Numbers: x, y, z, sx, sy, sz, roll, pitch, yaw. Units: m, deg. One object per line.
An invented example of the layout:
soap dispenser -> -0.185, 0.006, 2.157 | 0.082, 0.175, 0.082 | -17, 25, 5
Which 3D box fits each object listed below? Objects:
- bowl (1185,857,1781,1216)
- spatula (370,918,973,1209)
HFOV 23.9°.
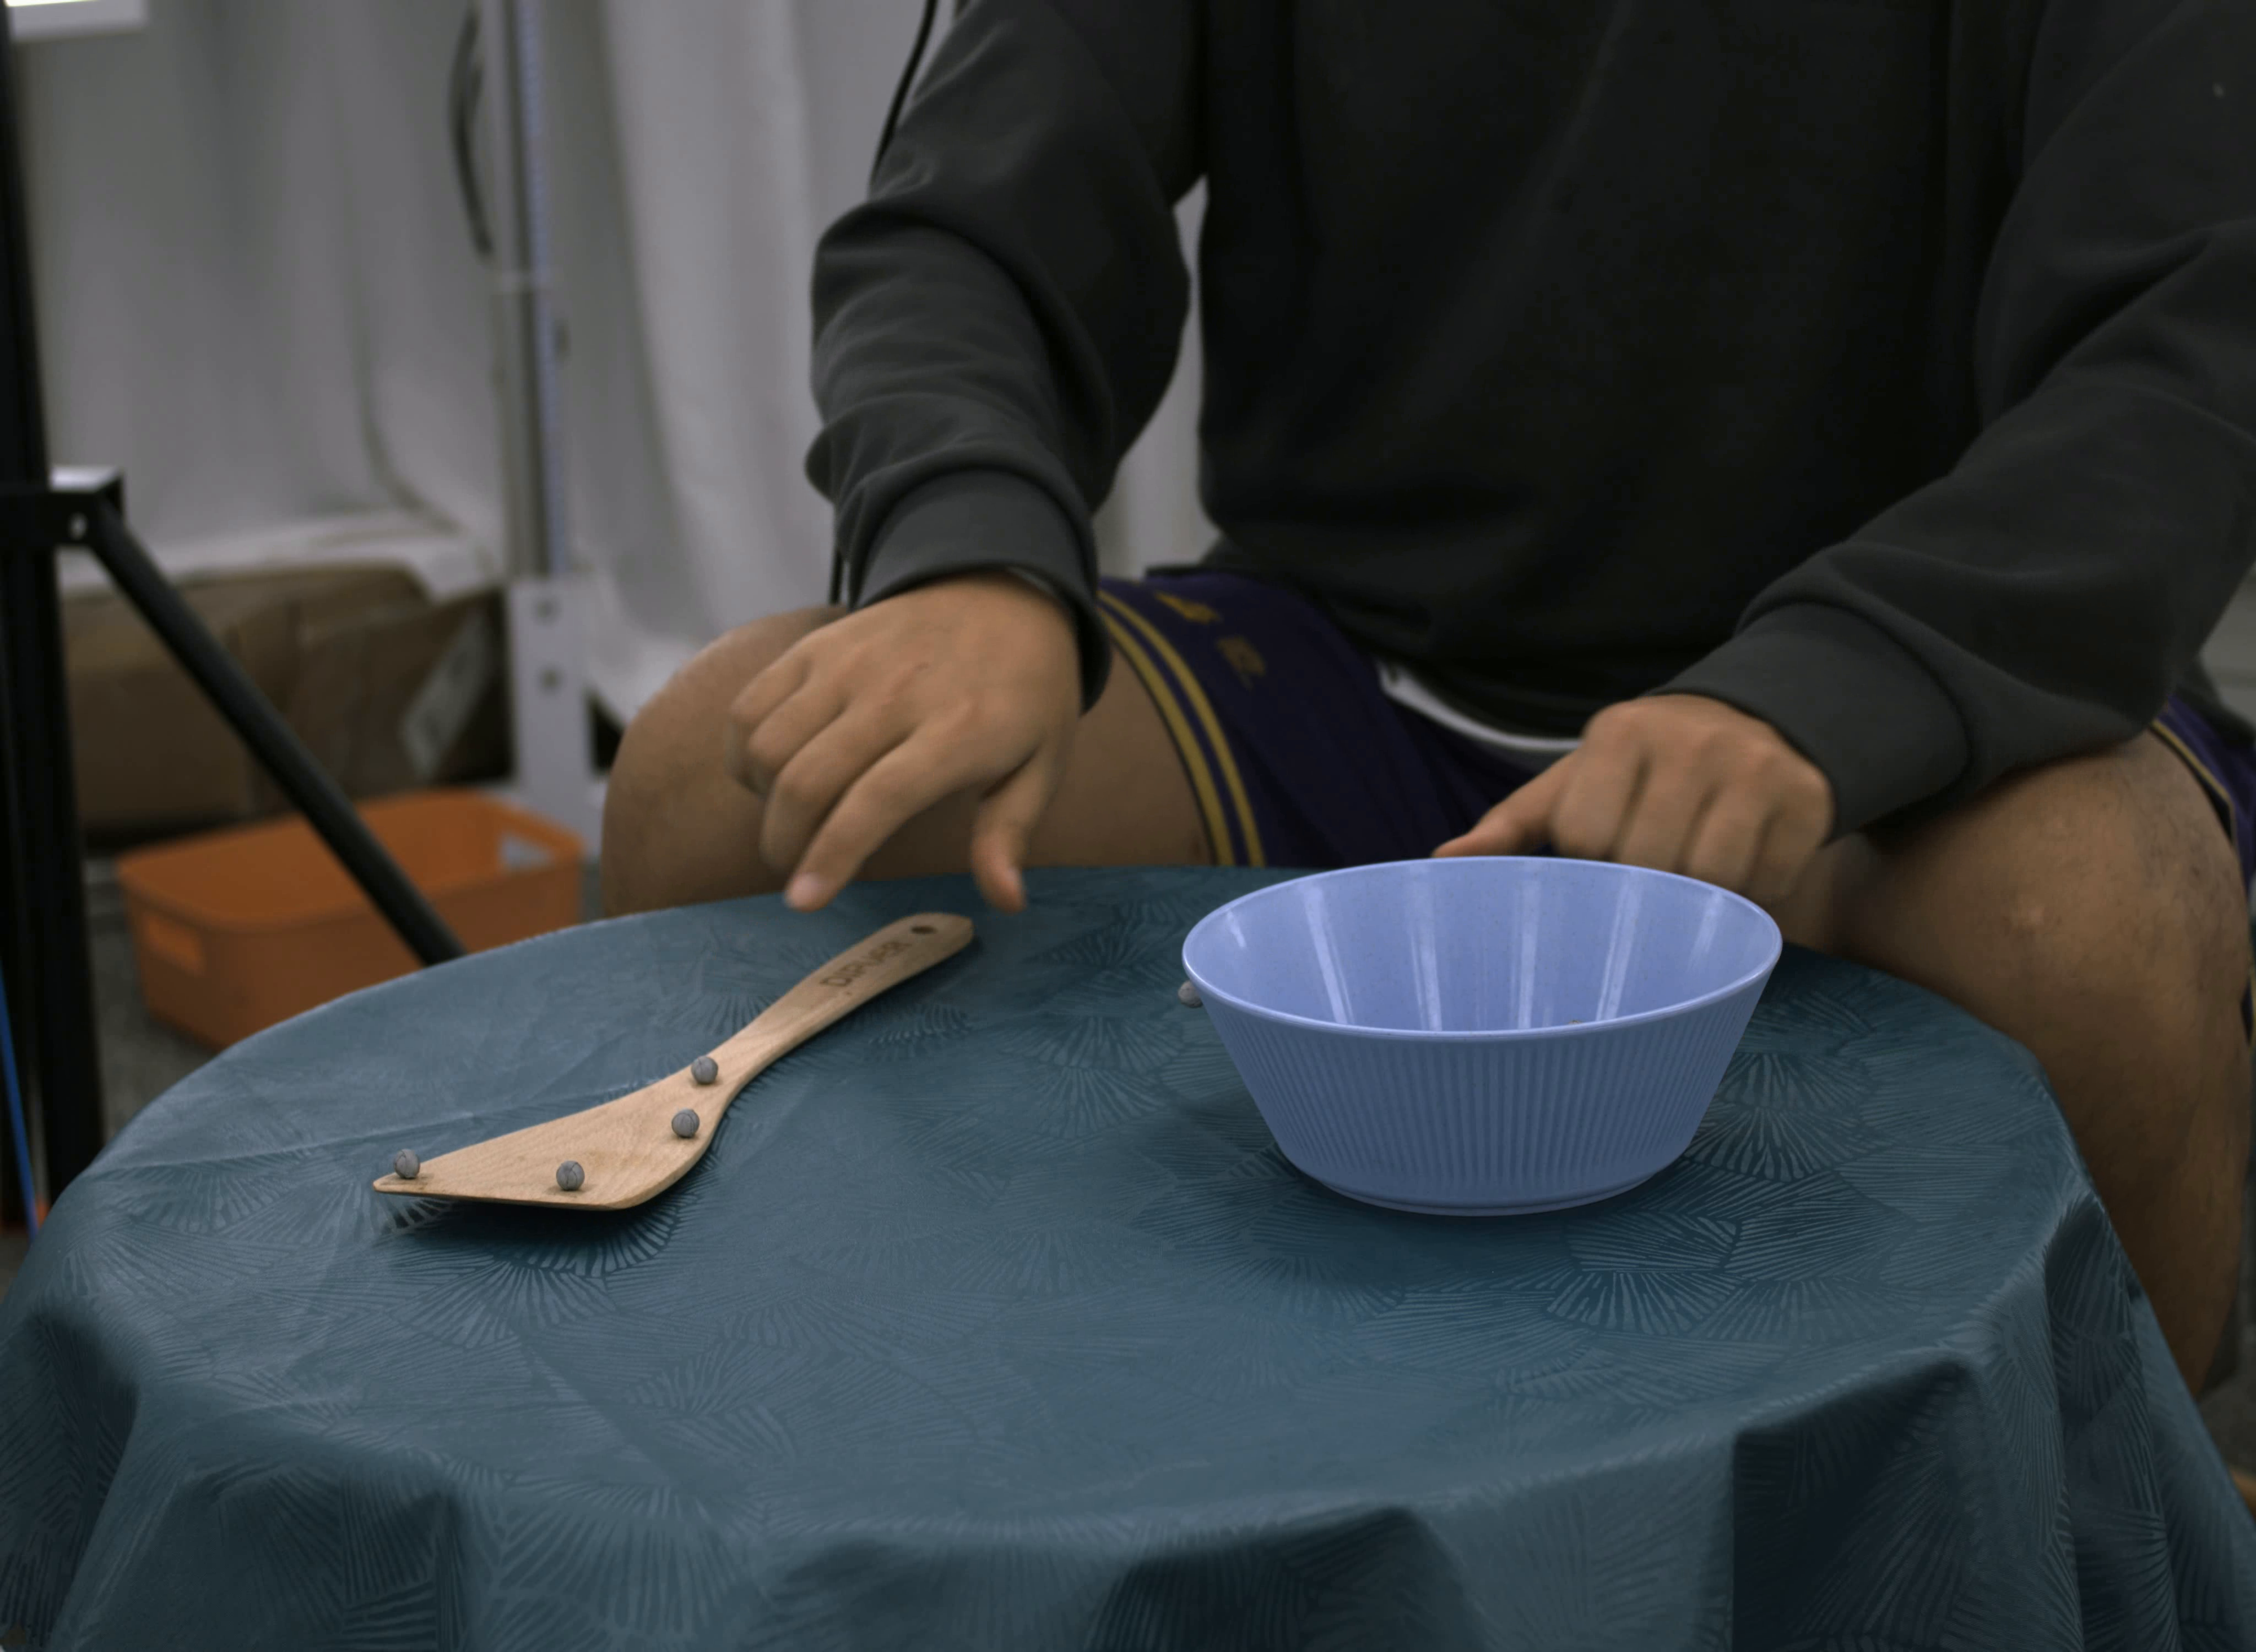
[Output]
bowl -> 0.105, 0.065, 1.567 | 0.175, 0.070, 0.177 | -3, 16, -1
spatula -> -0.124, 0.072, 1.679 | 0.081, 0.016, 0.323 | 4, 17, 24
